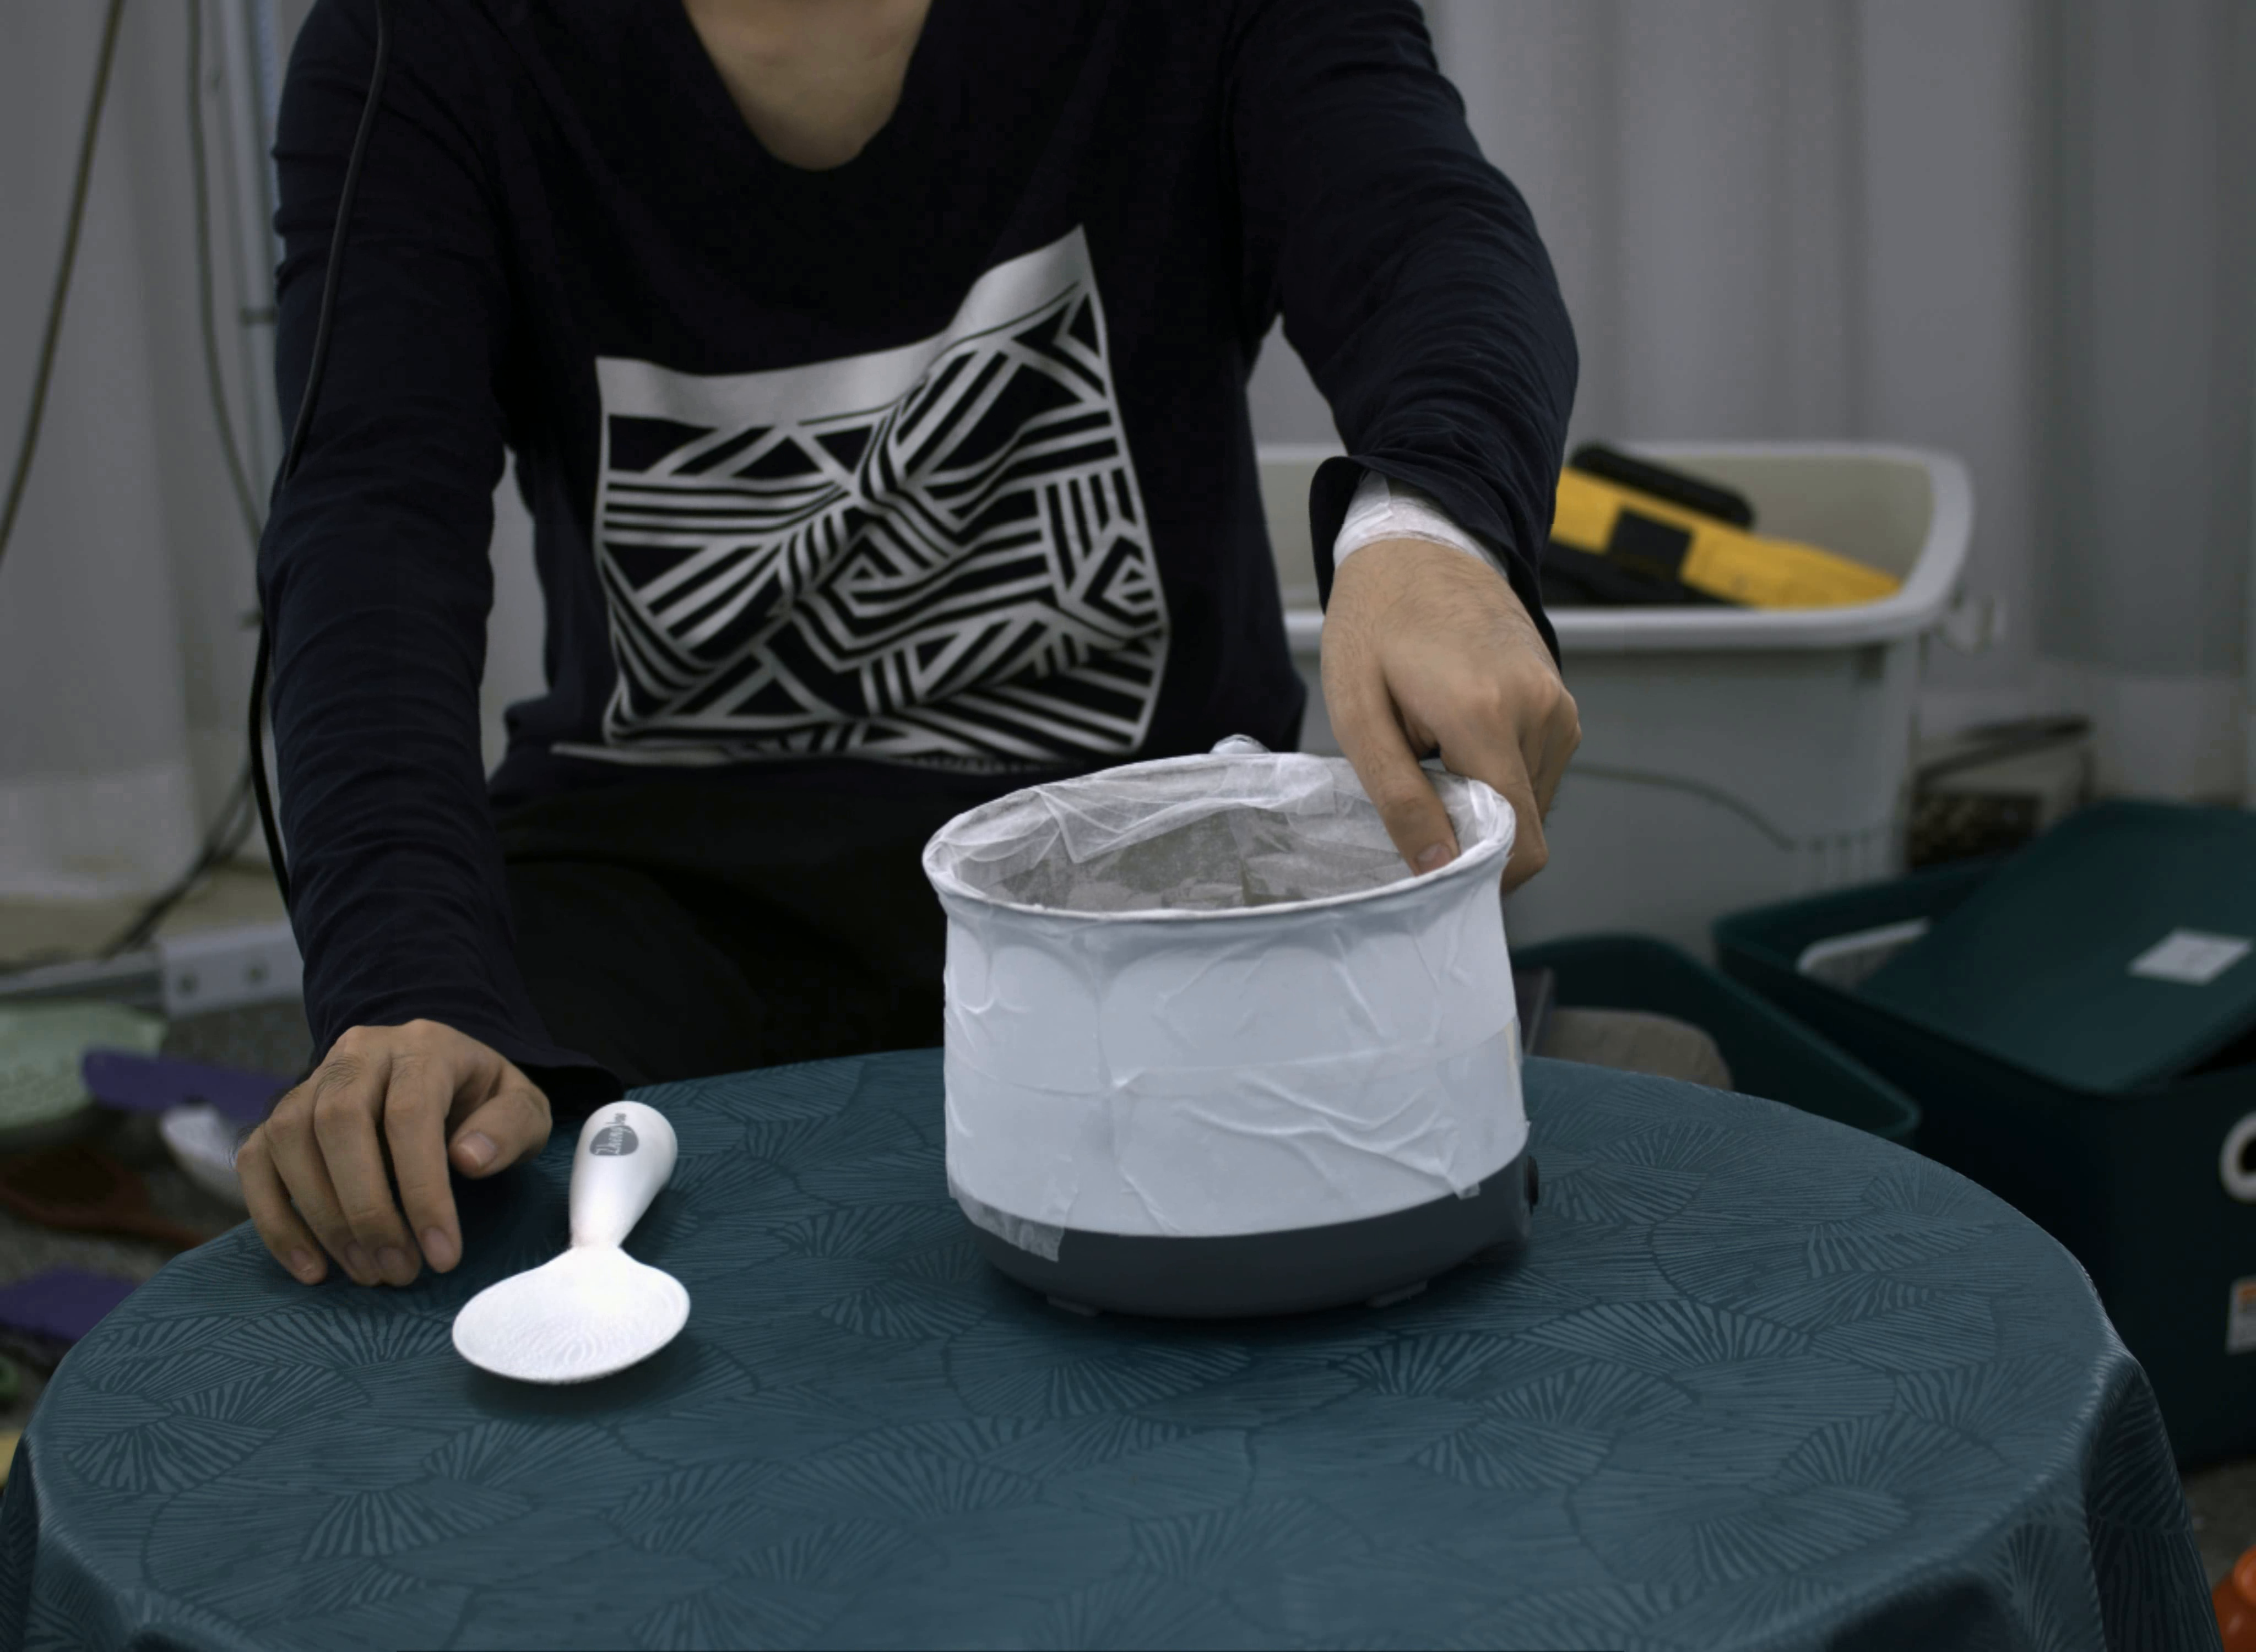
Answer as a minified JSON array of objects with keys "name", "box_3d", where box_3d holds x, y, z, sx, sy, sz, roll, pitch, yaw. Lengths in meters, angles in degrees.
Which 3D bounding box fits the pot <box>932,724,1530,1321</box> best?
[{"name":"pot","box_3d":[0.033,0.054,1.664,0.178,0.136,0.235,0,16,3]}]

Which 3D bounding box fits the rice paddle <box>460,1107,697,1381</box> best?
[{"name":"rice paddle","box_3d":[-0.159,0.128,1.643,0.068,0.029,0.206,-5,14,1]}]
